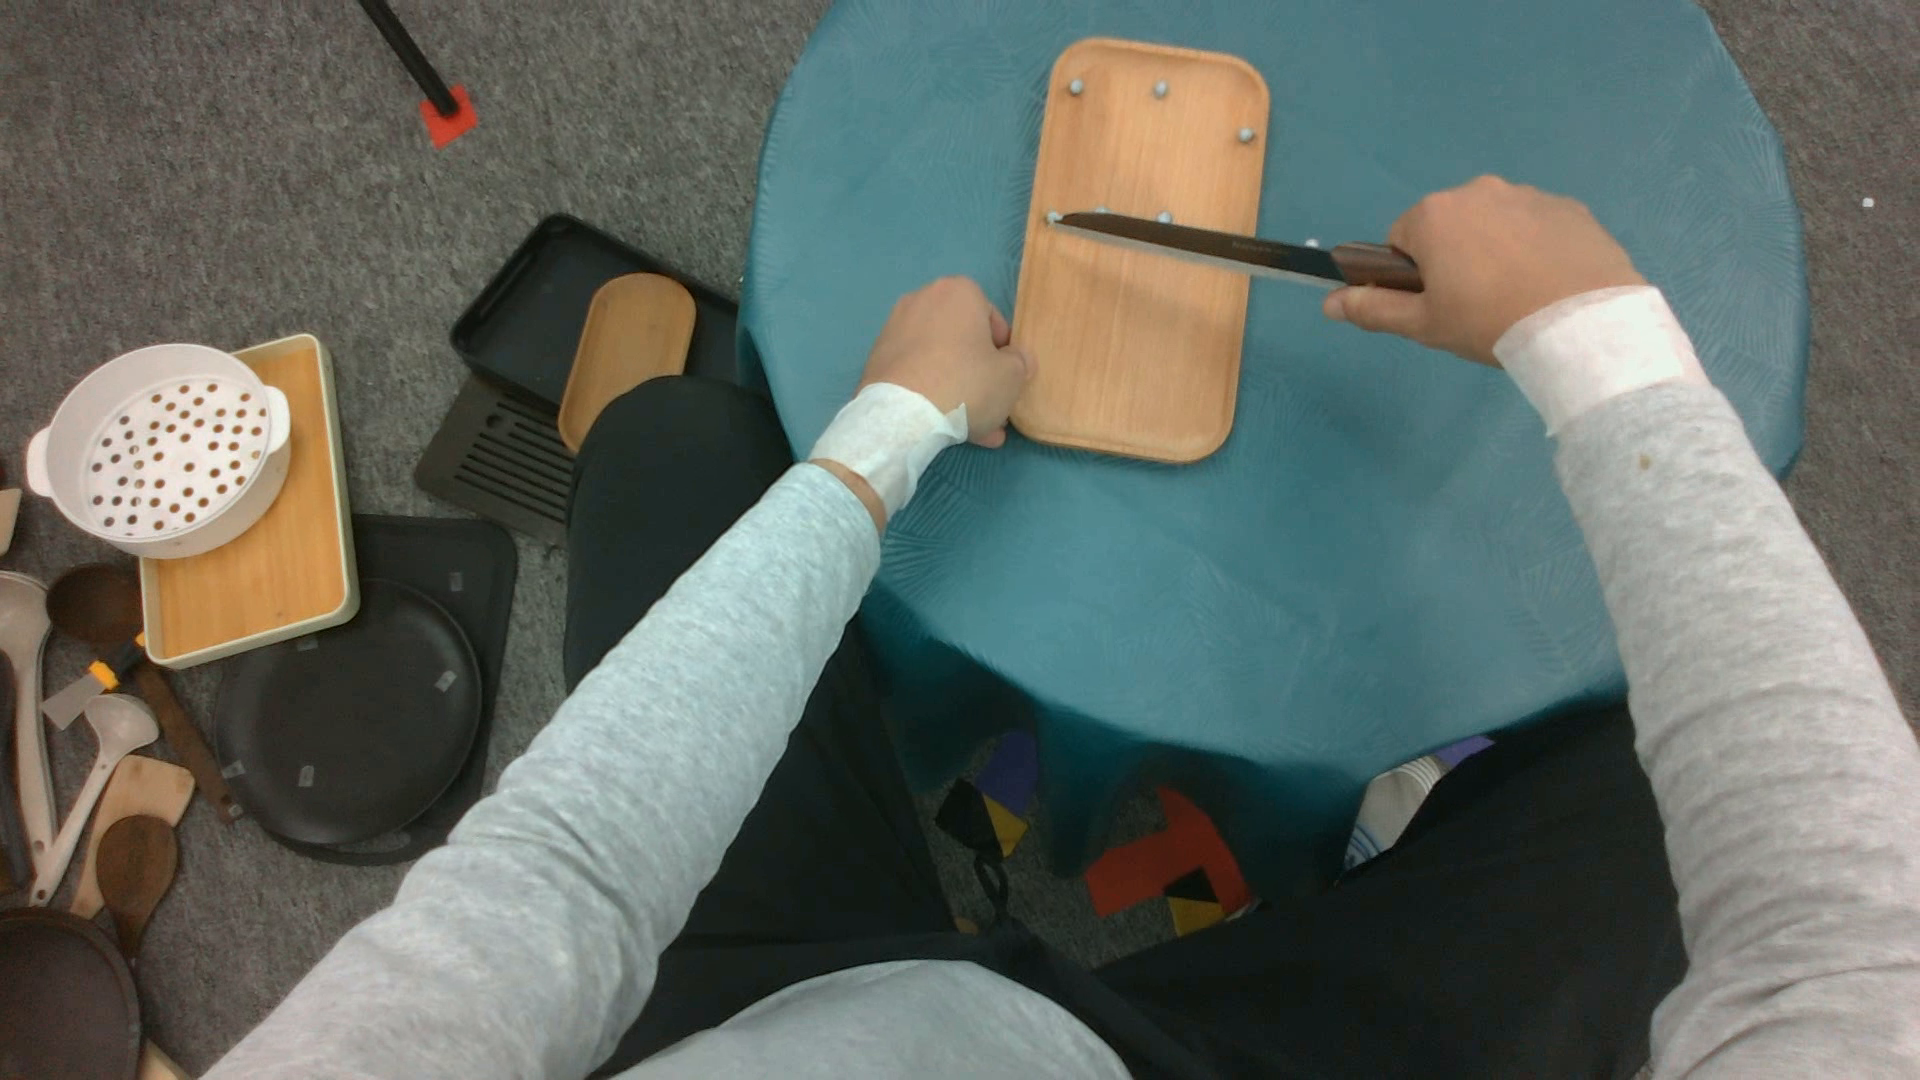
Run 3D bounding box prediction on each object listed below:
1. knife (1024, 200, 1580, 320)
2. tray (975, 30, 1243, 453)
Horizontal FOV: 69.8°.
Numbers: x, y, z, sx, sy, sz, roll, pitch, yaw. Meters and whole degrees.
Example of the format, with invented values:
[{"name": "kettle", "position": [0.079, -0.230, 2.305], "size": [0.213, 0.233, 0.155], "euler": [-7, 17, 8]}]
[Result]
[{"name": "knife", "position": [0.157, -0.144, 0.691], "size": [0.289, 0.050, 0.020], "euler": [15, 78, 28]}, {"name": "tray", "position": [0.086, -0.172, 0.778], "size": [0.130, 0.023, 0.251], "euler": [9, 75, 3]}]
